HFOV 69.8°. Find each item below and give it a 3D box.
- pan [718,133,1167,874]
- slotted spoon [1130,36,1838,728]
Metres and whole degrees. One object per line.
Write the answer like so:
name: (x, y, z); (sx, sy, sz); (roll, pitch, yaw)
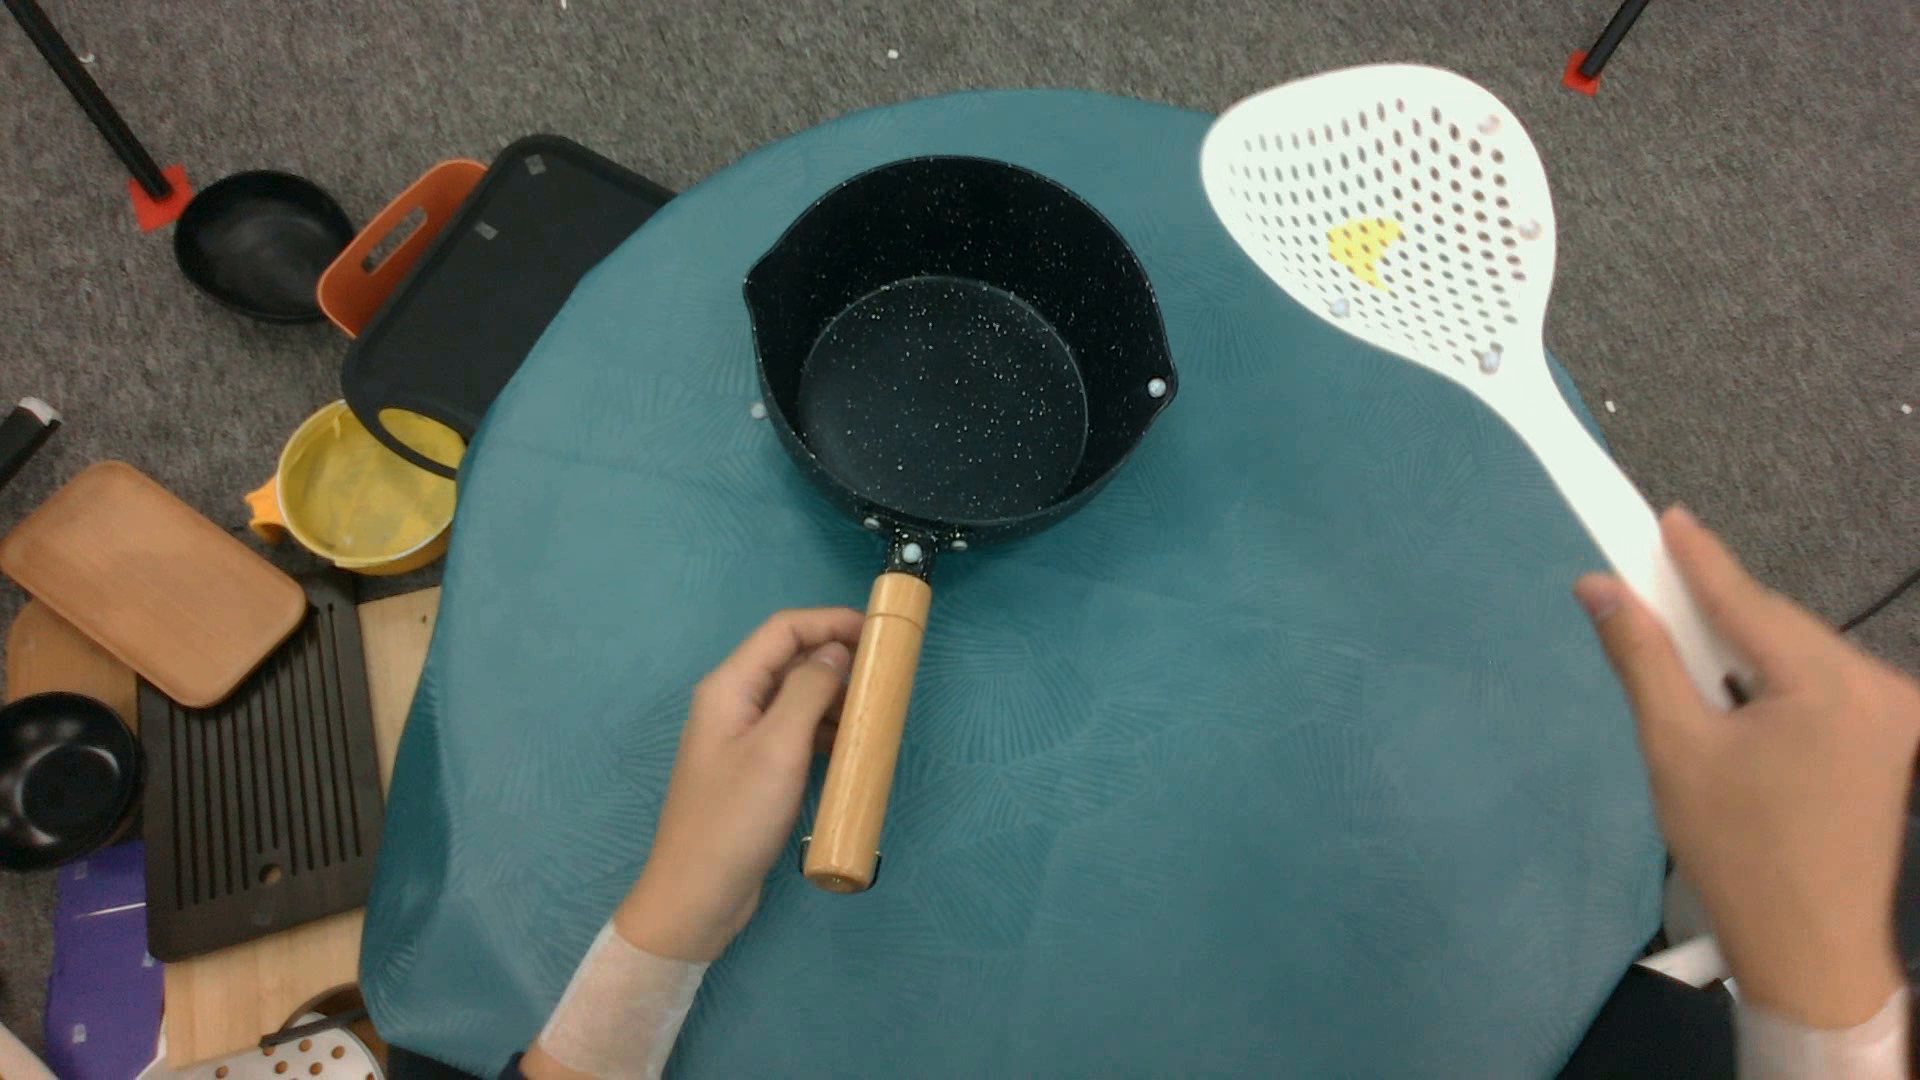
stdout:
pan: (-0.023, -0.018, 0.613); (0.207, 0.108, 0.344); (12, 69, -5)
slotted spoon: (0.185, -0.075, 0.508); (0.137, 0.050, 0.349); (-22, 52, -11)
